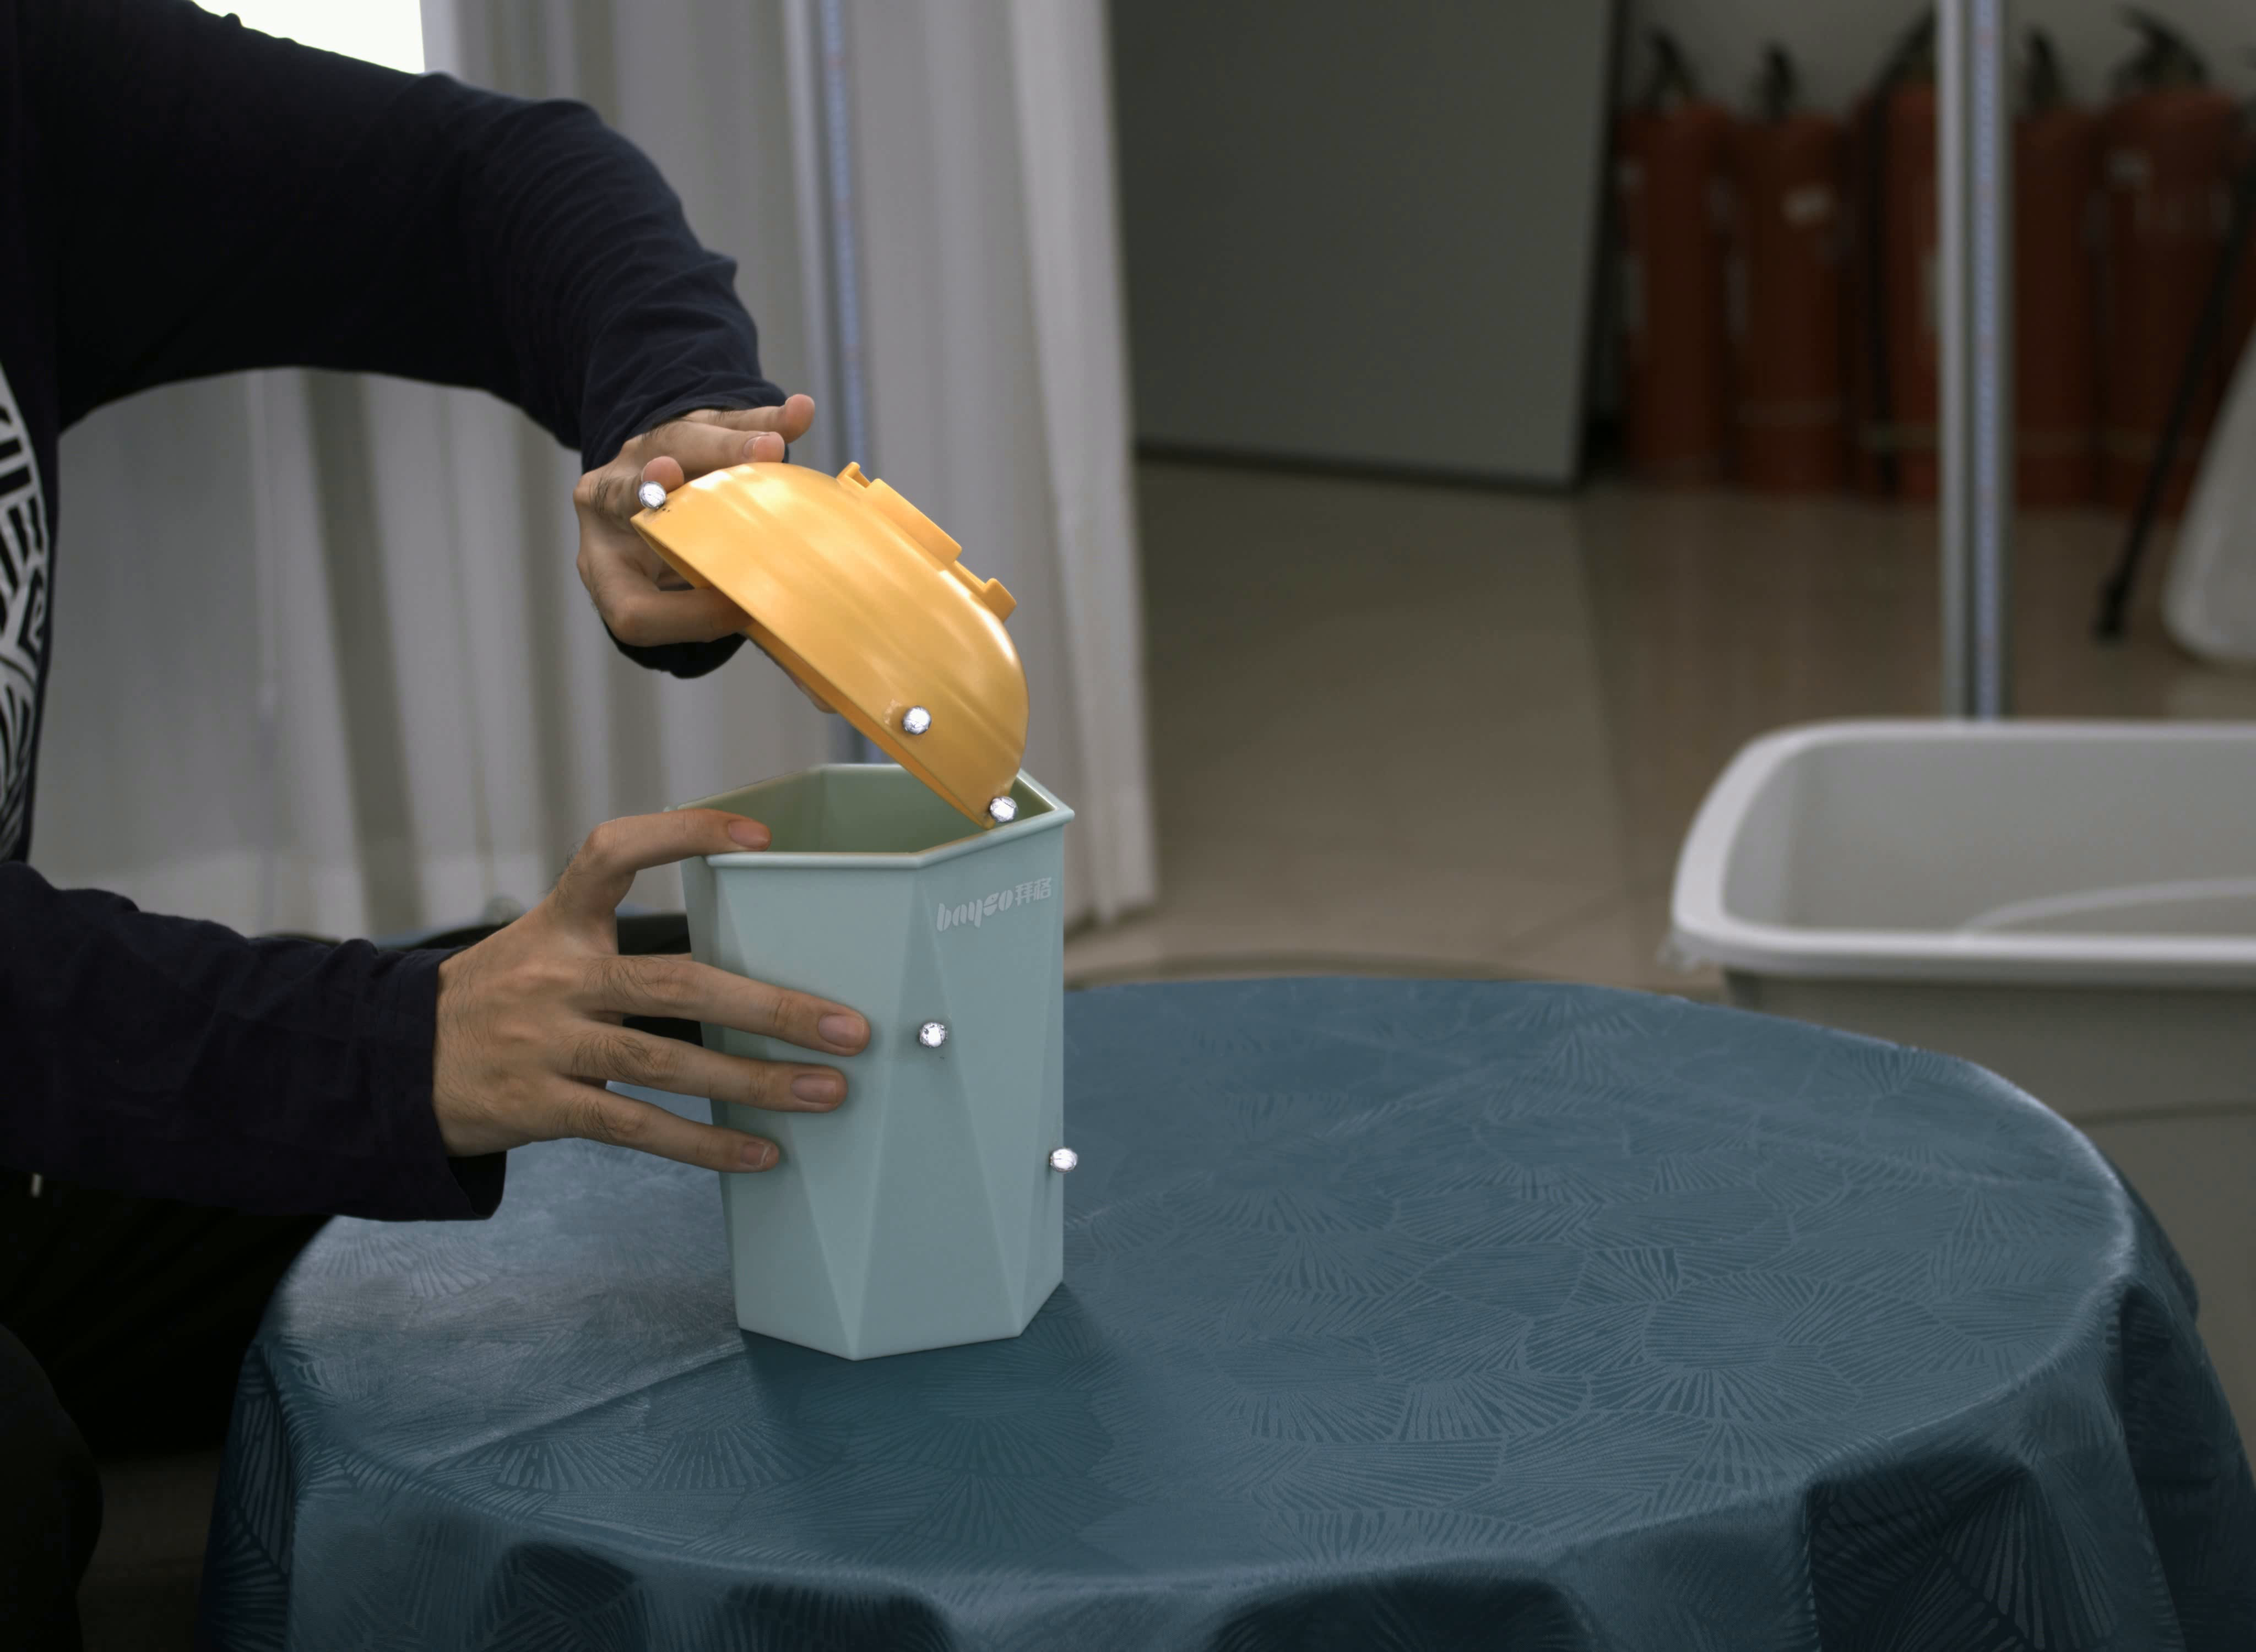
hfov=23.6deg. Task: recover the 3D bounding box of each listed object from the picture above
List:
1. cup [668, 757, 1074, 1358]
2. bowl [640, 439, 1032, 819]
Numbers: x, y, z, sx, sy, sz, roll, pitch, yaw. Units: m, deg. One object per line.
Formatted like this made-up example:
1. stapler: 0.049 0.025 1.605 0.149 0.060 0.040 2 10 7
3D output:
1. cup: -0.073 0.070 1.659 0.116 0.165 0.128 7 16 43
2. bowl: -0.075 -0.071 1.624 0.060 0.144 0.146 -47 20 -3
